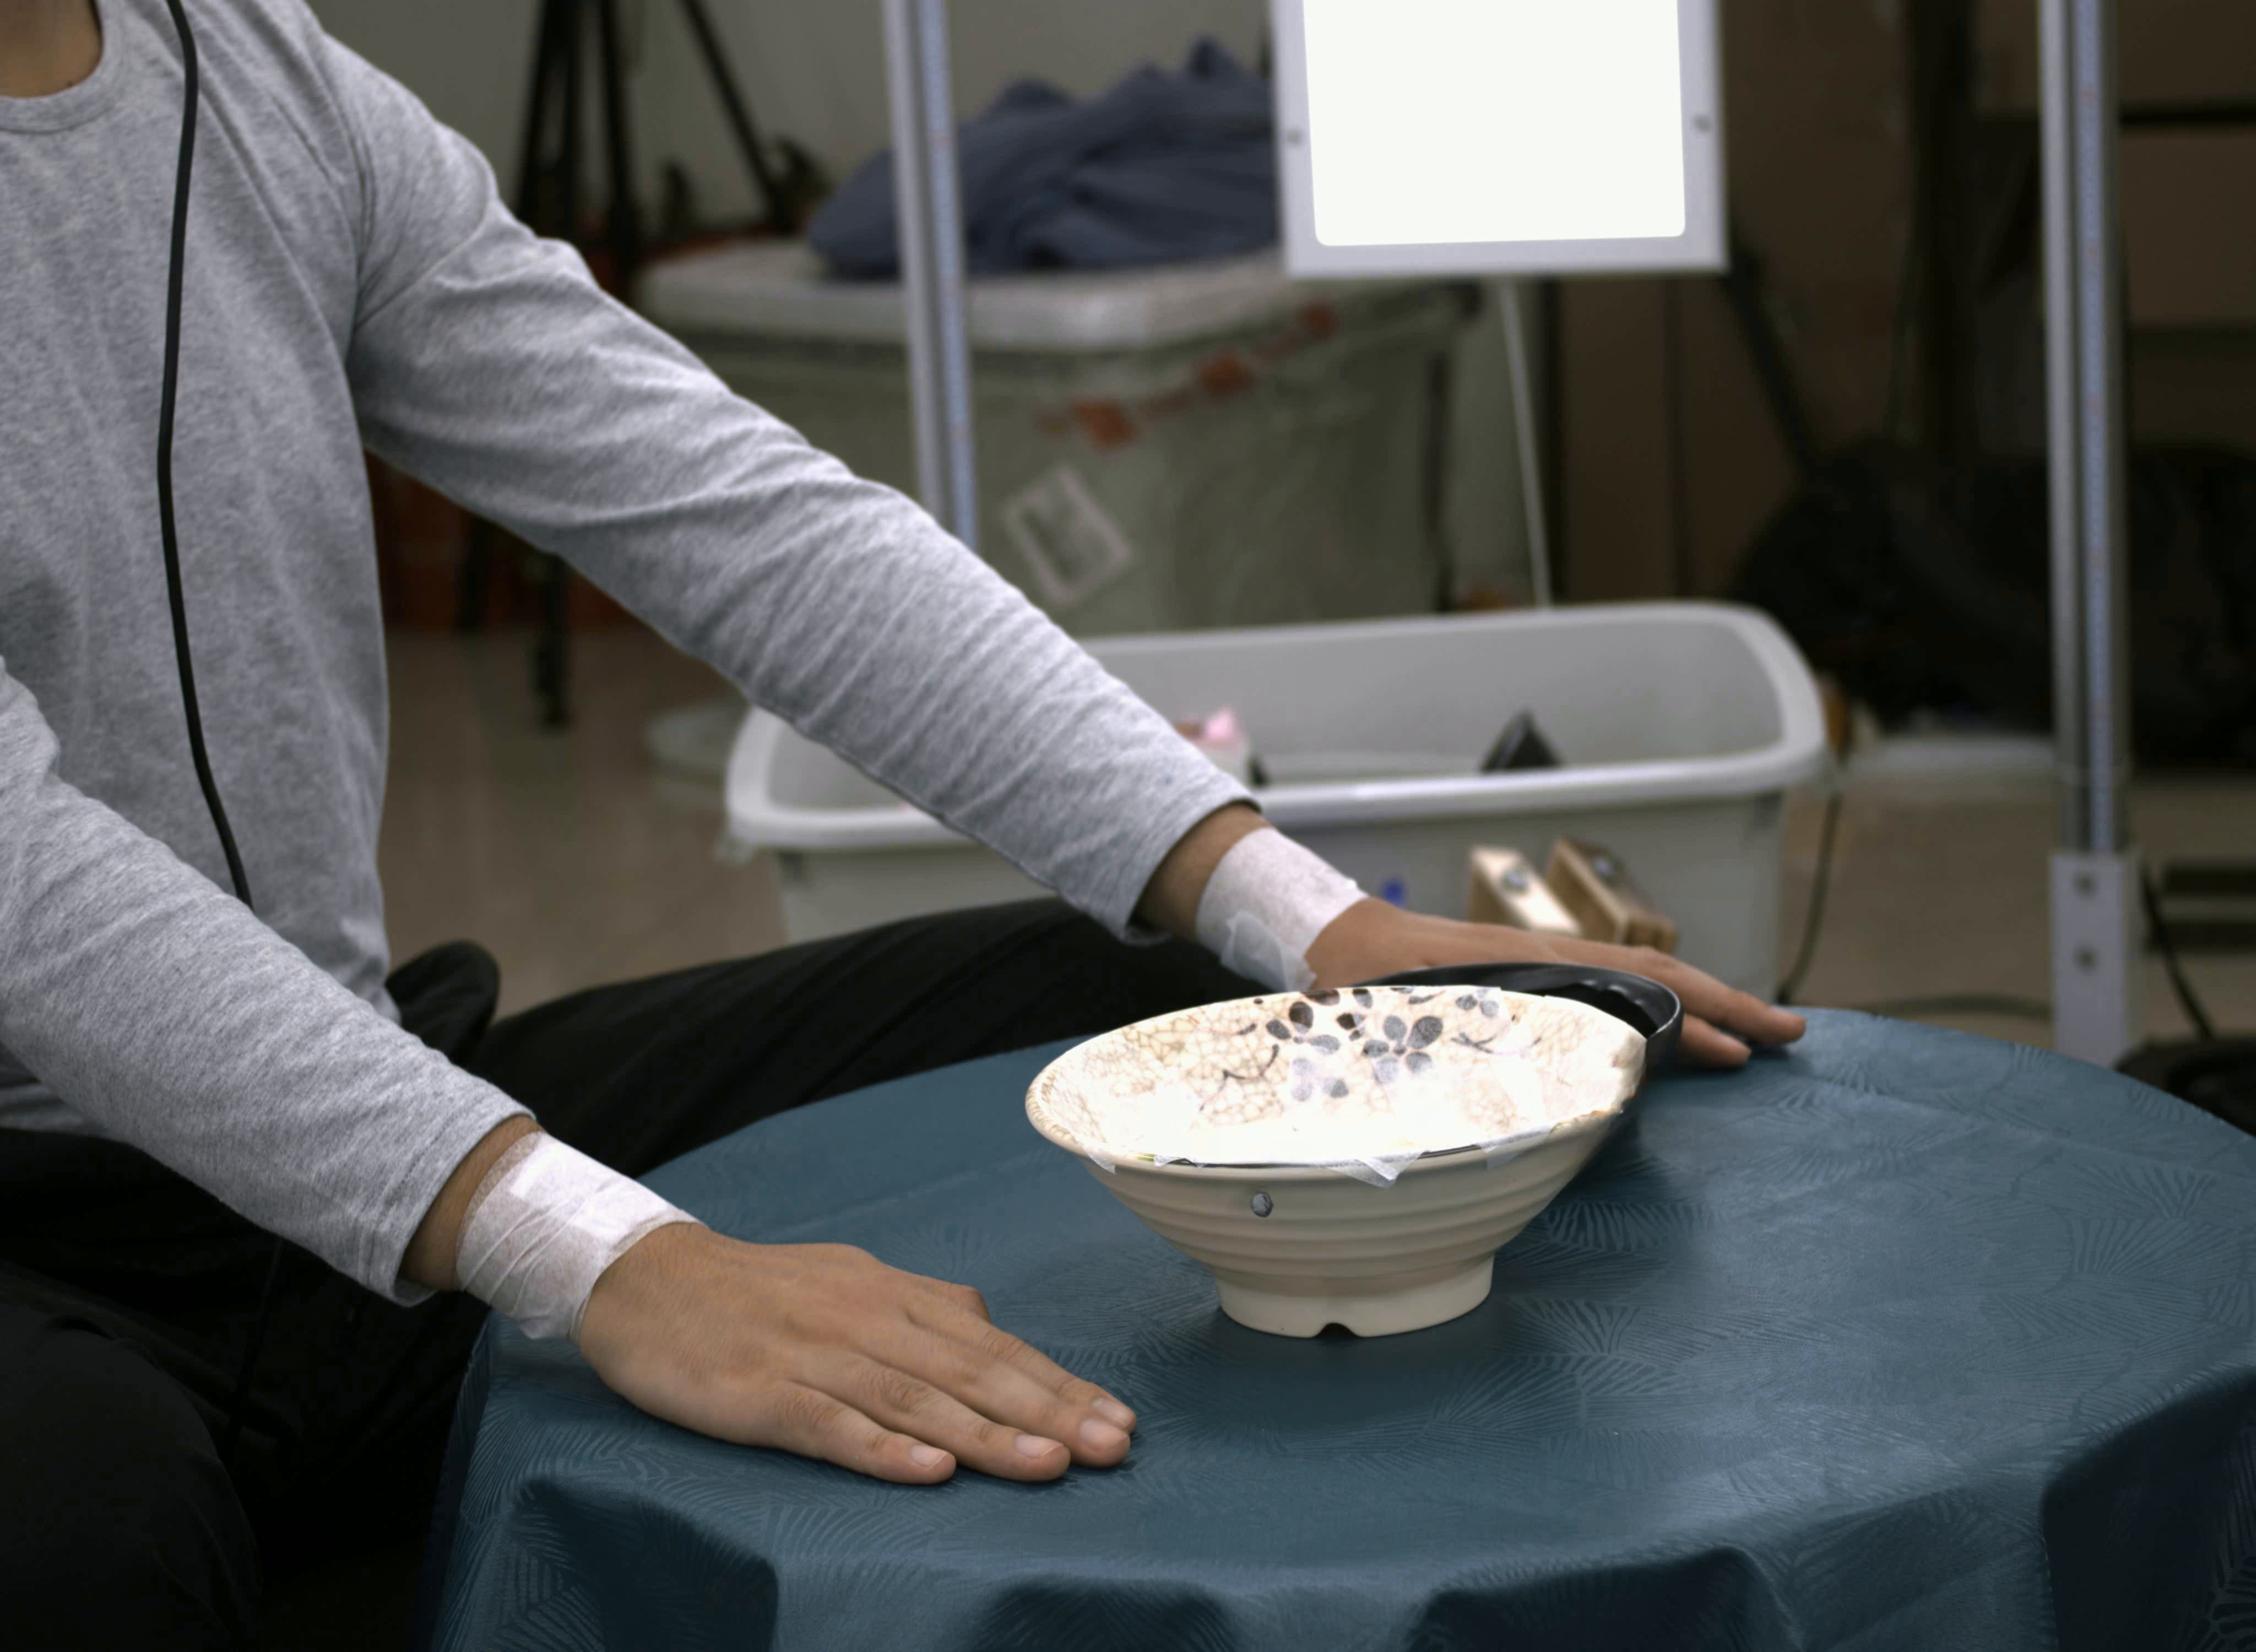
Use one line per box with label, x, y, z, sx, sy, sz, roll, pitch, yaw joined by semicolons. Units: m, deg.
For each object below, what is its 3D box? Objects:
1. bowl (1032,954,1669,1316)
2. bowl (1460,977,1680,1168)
bowl;0.069;0.105;1.754;0.203;0.078;0.204;2;15;-2
bowl;0.126;0.092;1.910;0.140;0.050;0.140;-8;9;0
